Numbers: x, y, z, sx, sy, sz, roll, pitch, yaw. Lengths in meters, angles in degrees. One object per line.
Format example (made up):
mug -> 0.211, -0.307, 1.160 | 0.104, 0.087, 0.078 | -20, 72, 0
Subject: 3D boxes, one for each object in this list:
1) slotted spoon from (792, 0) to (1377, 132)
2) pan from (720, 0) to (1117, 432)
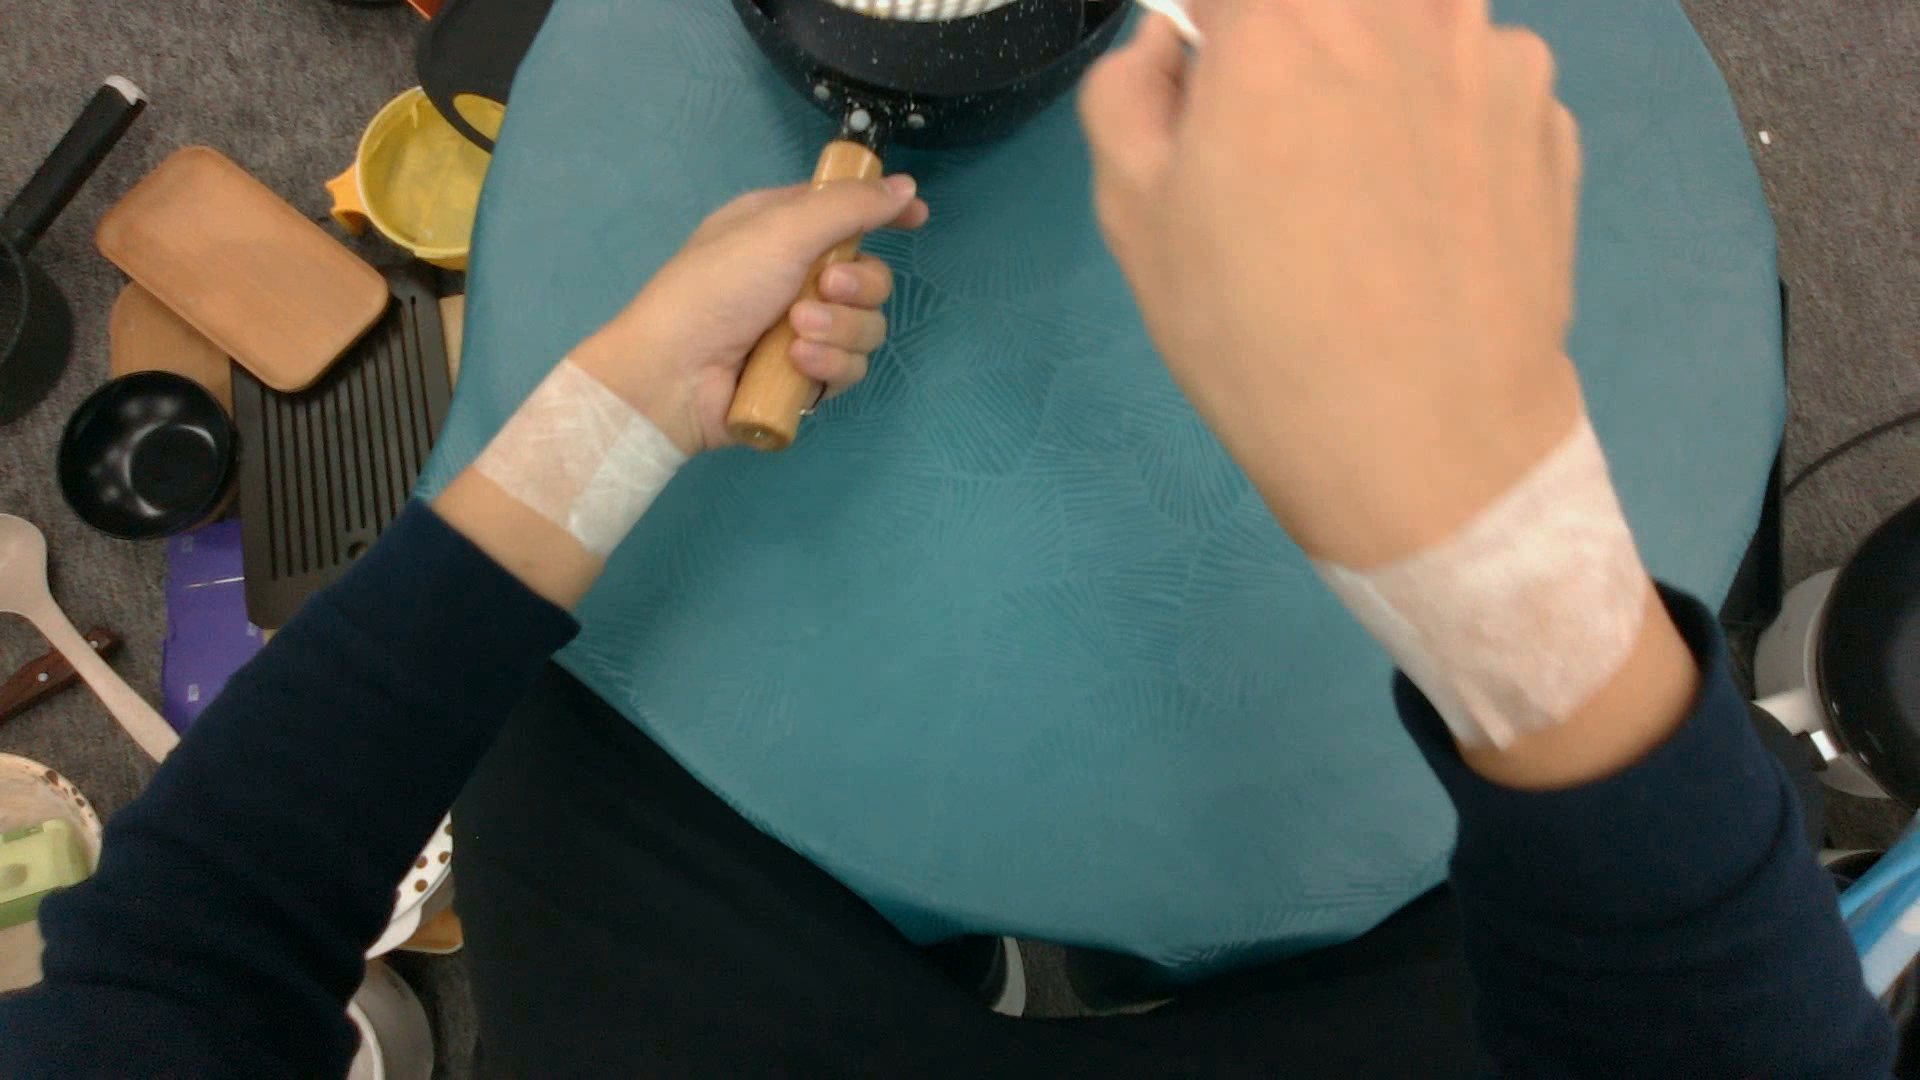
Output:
slotted spoon -> 0.008, -0.169, 0.411 | 0.137, 0.348, 0.050 | 0, 111, -25
pan -> -0.035, -0.194, 0.579 | 0.207, 0.108, 0.343 | 14, 77, -2
